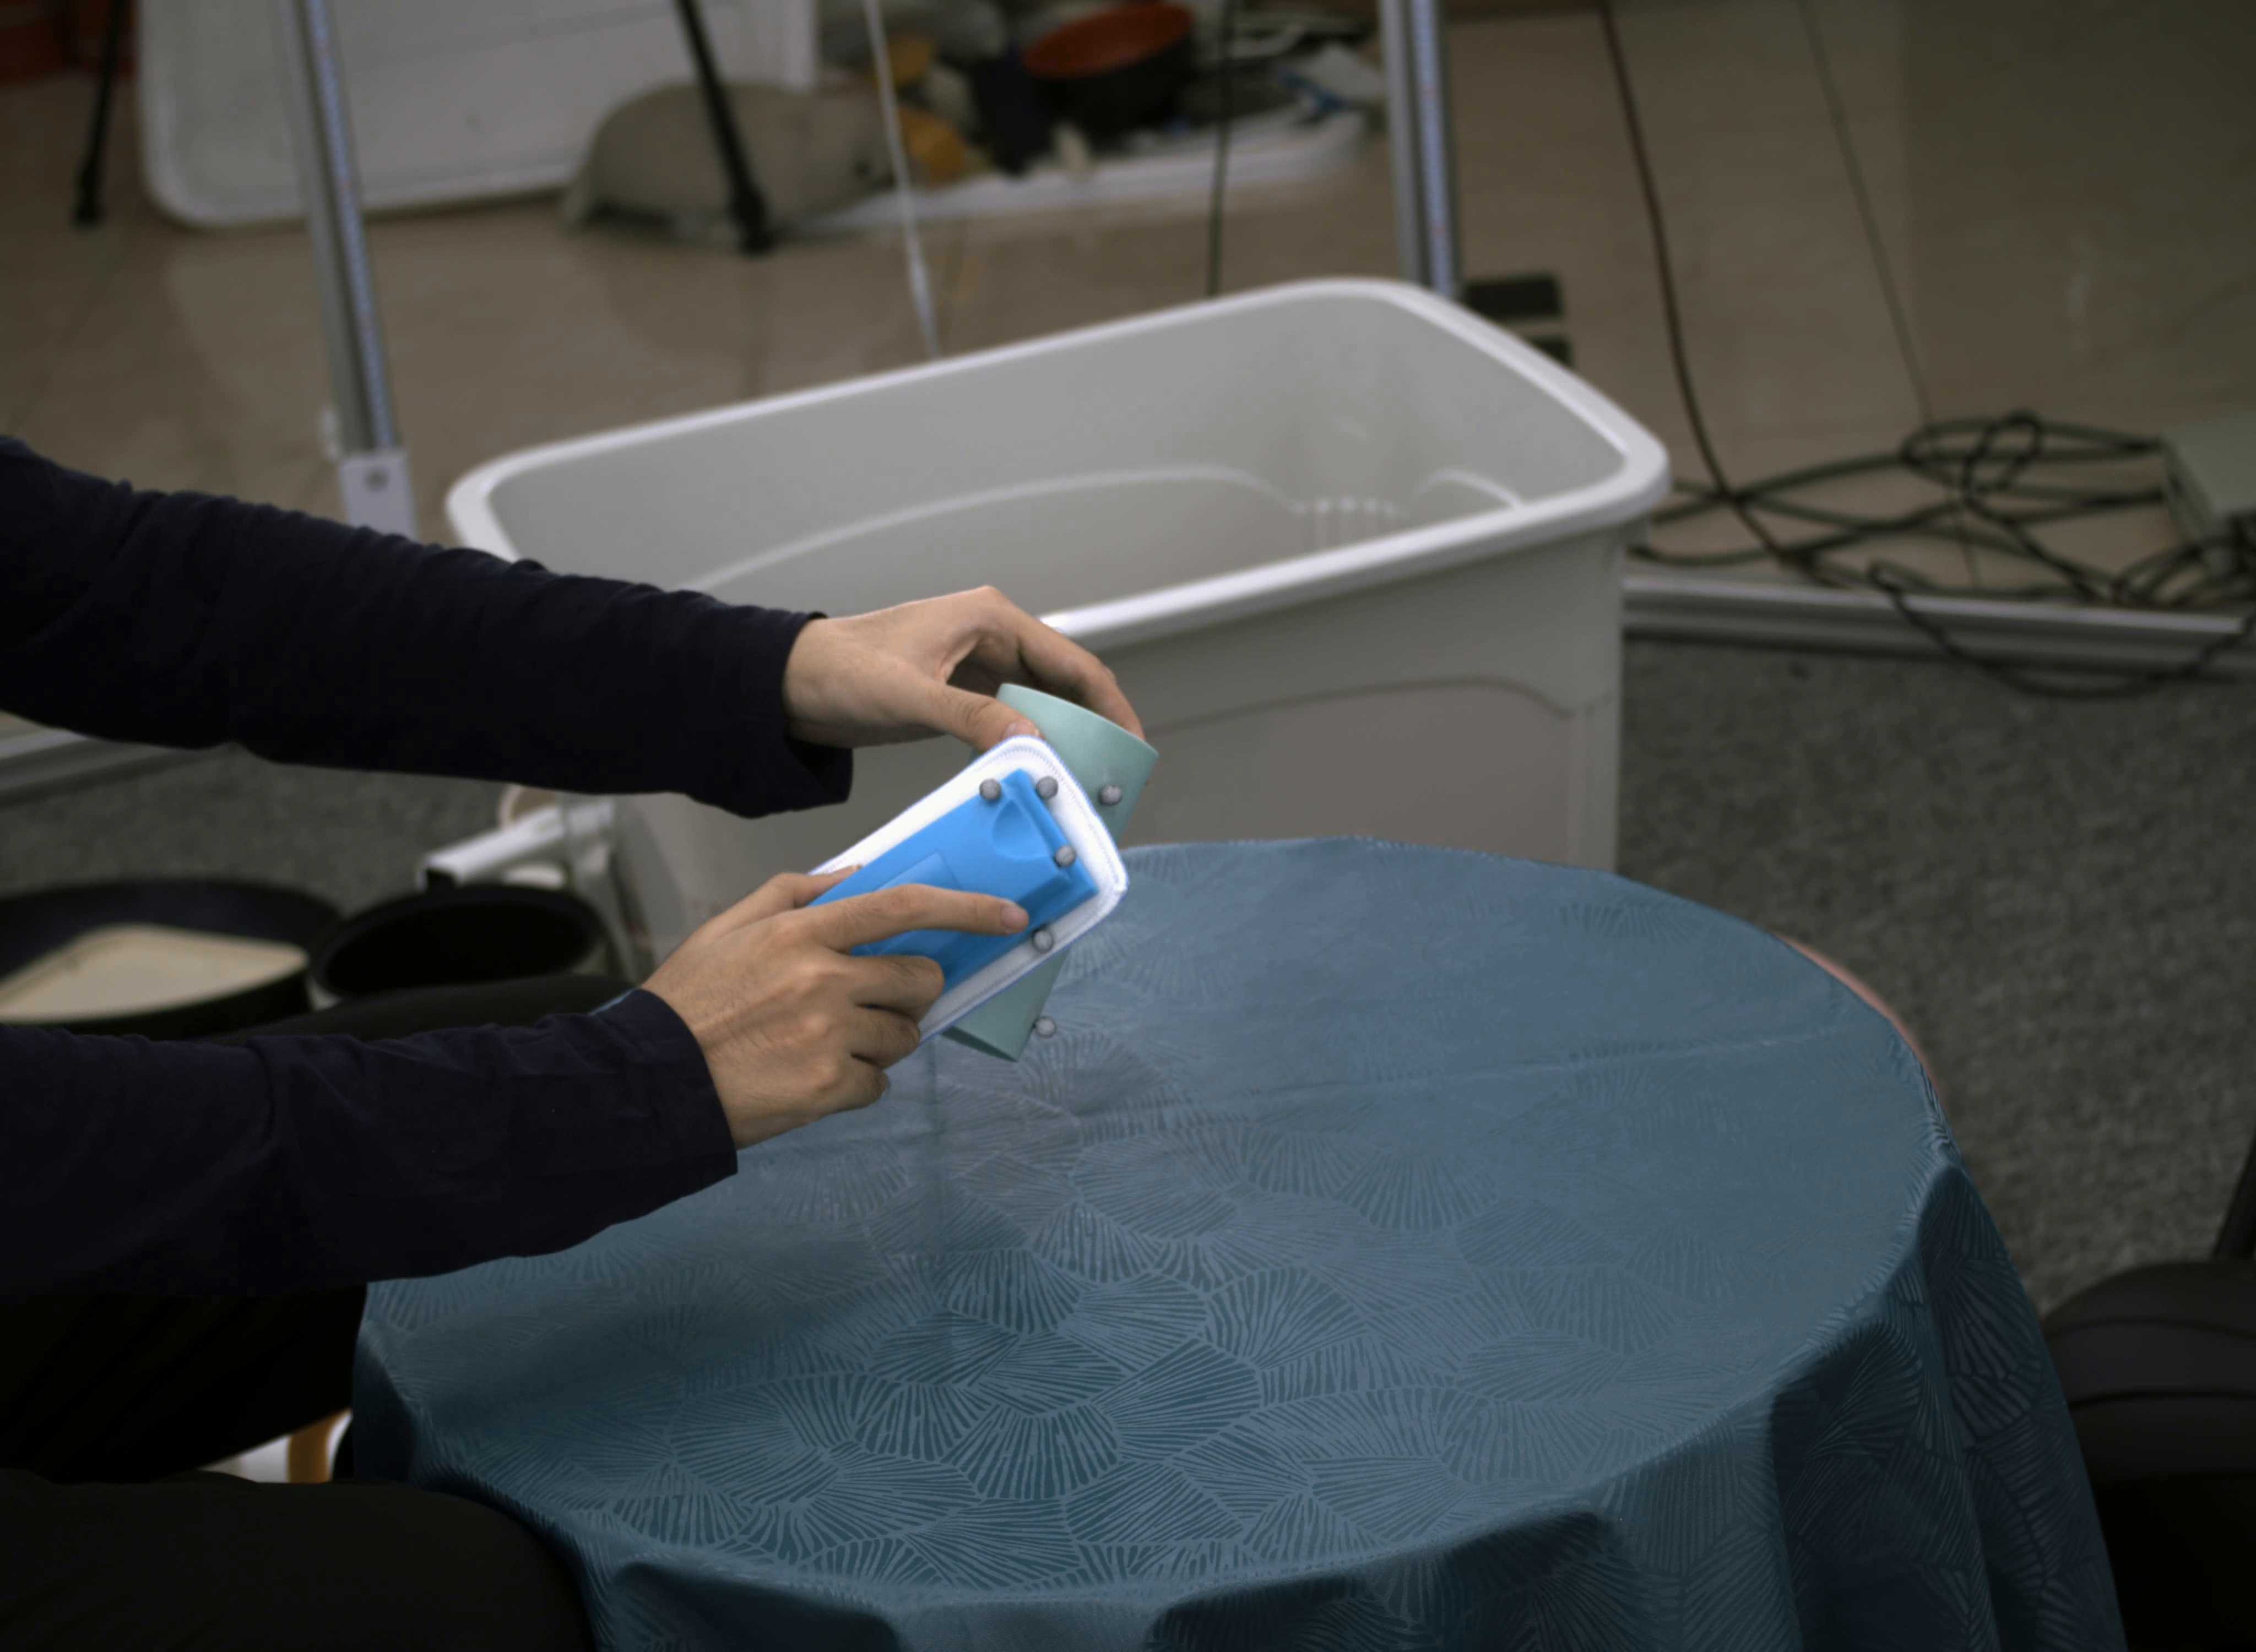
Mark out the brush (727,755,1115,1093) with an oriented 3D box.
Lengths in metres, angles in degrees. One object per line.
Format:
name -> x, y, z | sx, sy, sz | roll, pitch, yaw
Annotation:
brush -> -0.081, 0.032, 2.102 | 0.144, 0.056, 0.083 | -31, 71, 5

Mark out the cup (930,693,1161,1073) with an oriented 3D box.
cup -> -0.045, 0.021, 2.163 | 0.066, 0.132, 0.067 | 24, -3, 2
